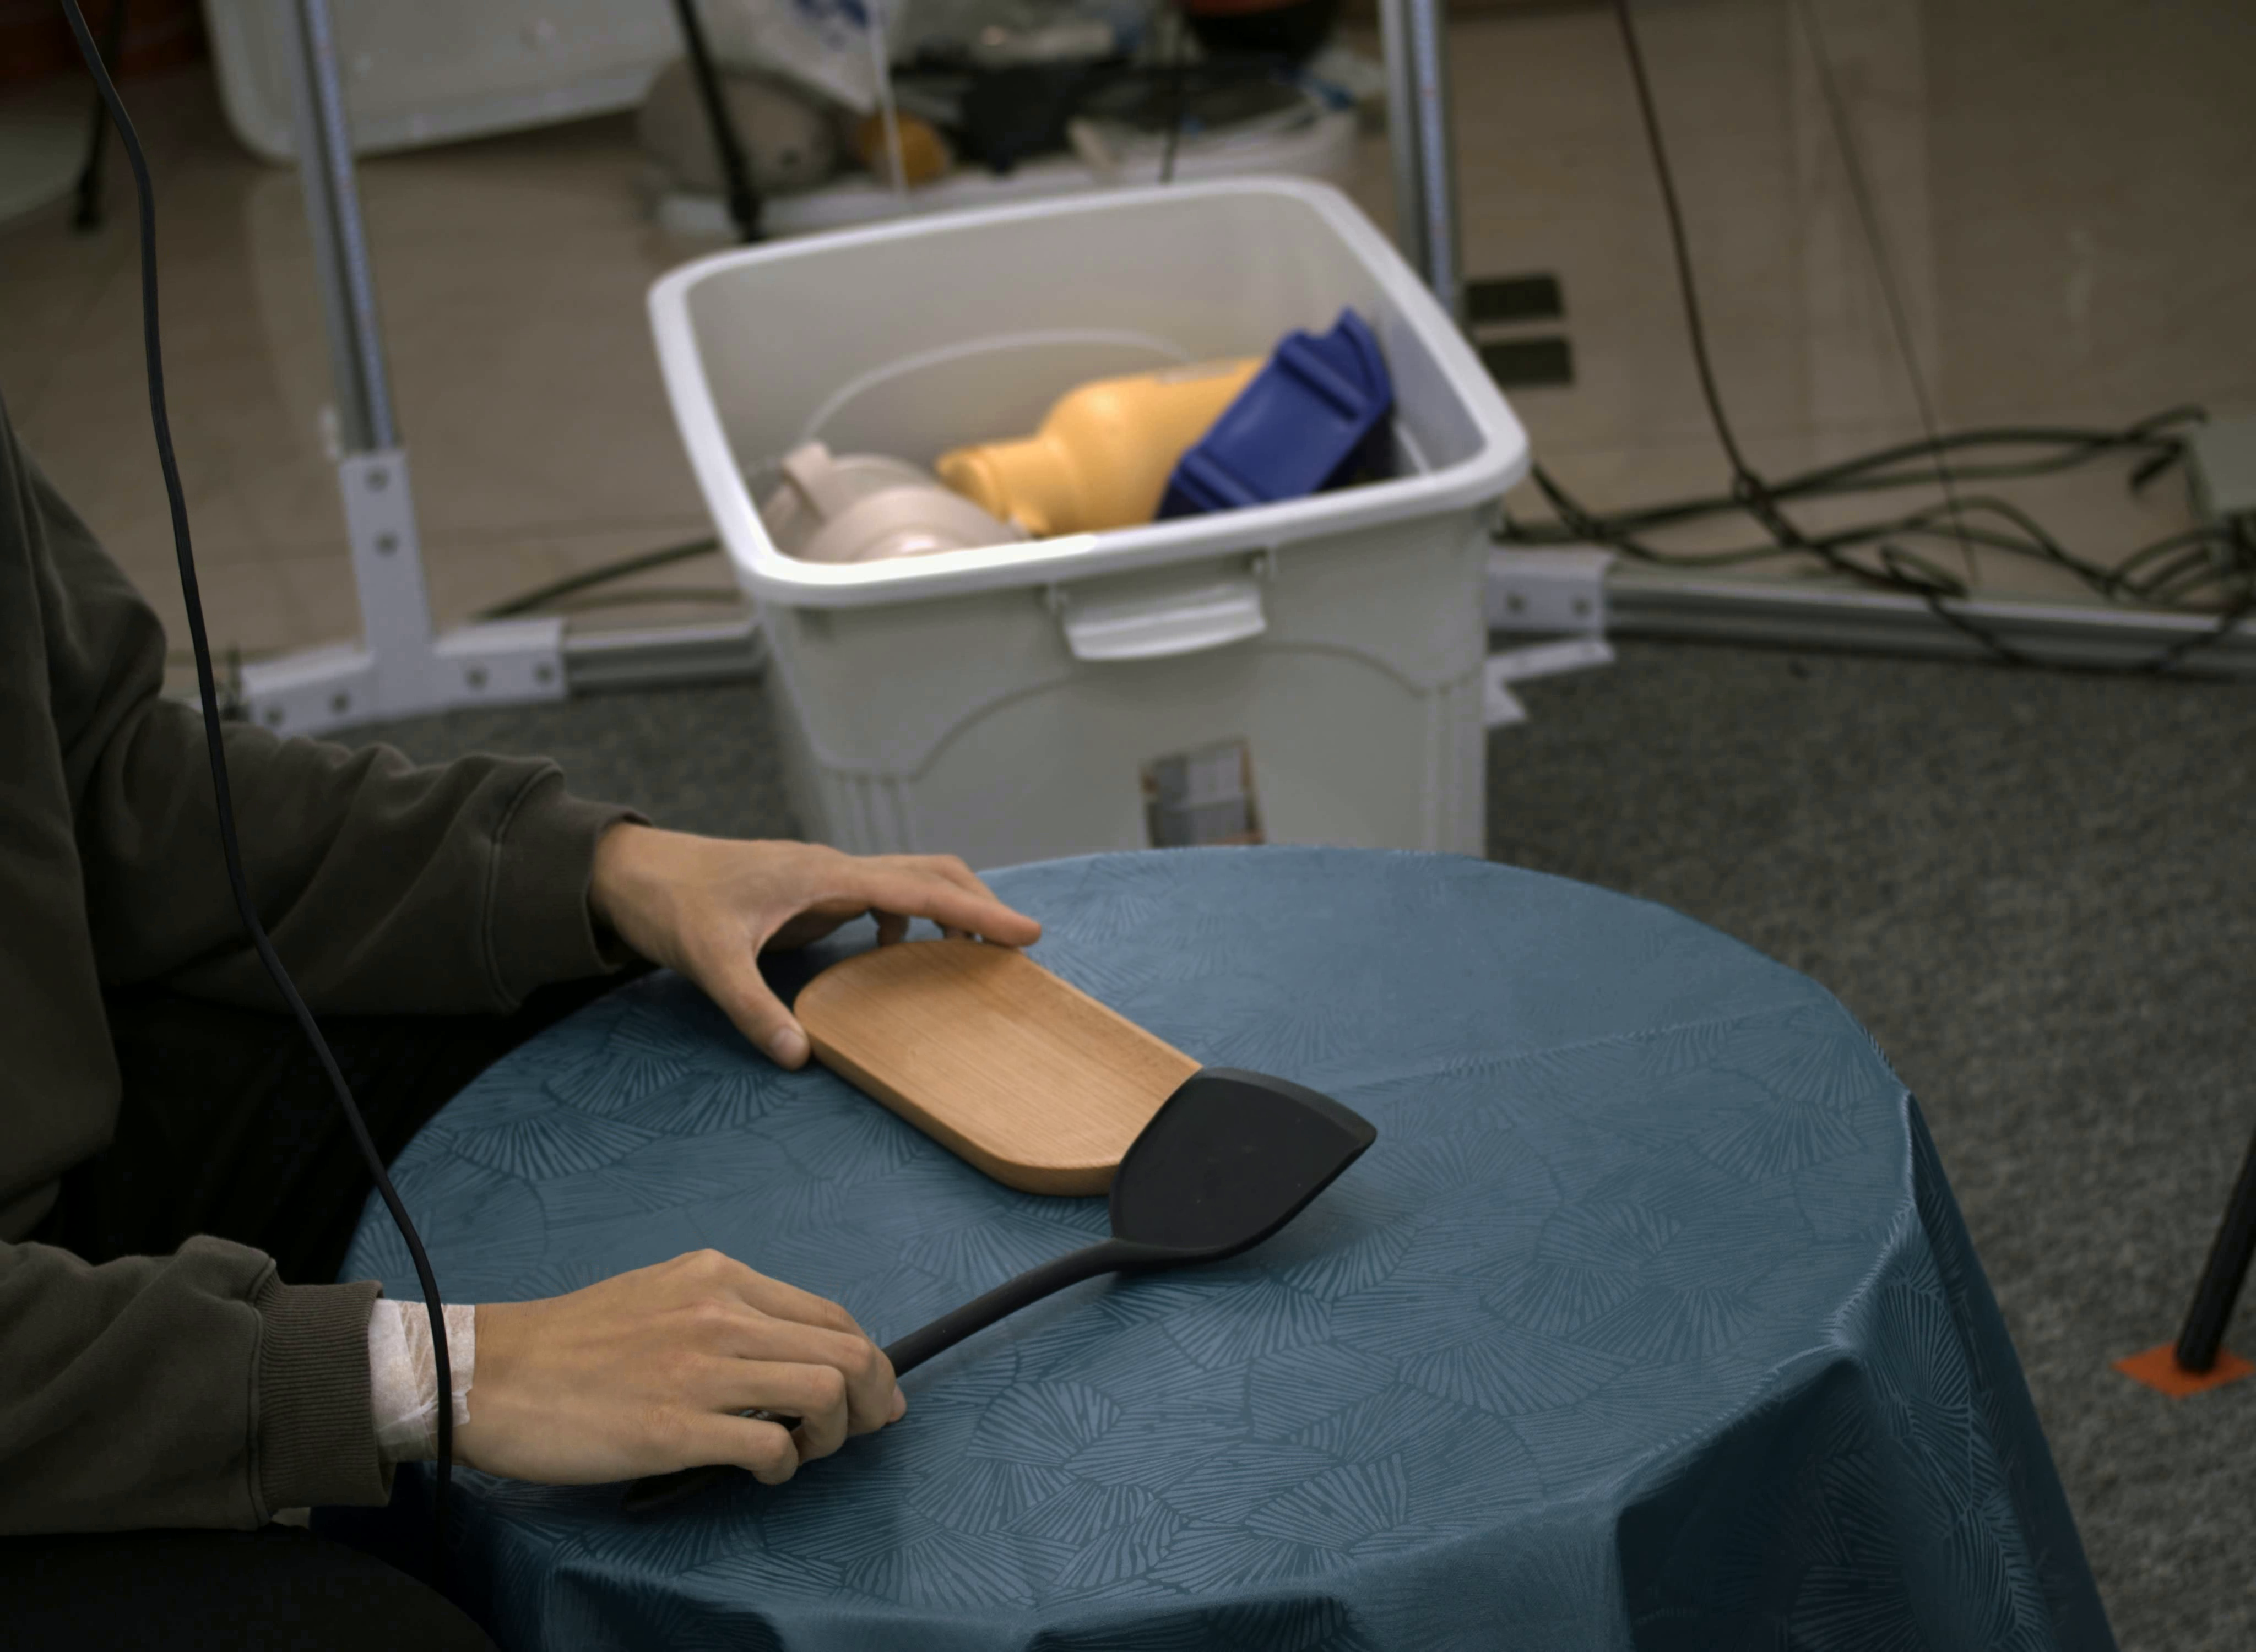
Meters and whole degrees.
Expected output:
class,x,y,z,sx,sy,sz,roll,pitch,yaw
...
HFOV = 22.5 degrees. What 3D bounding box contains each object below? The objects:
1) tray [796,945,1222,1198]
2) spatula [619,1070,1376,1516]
class,x,y,z,sx,sy,sz,roll,pitch,yaw
tray,-0.048,0.095,2.234,0.101,0.020,0.228,-21,30,-27
spatula,-0.053,0.170,2.047,0.324,0.041,0.099,-24,27,-34
